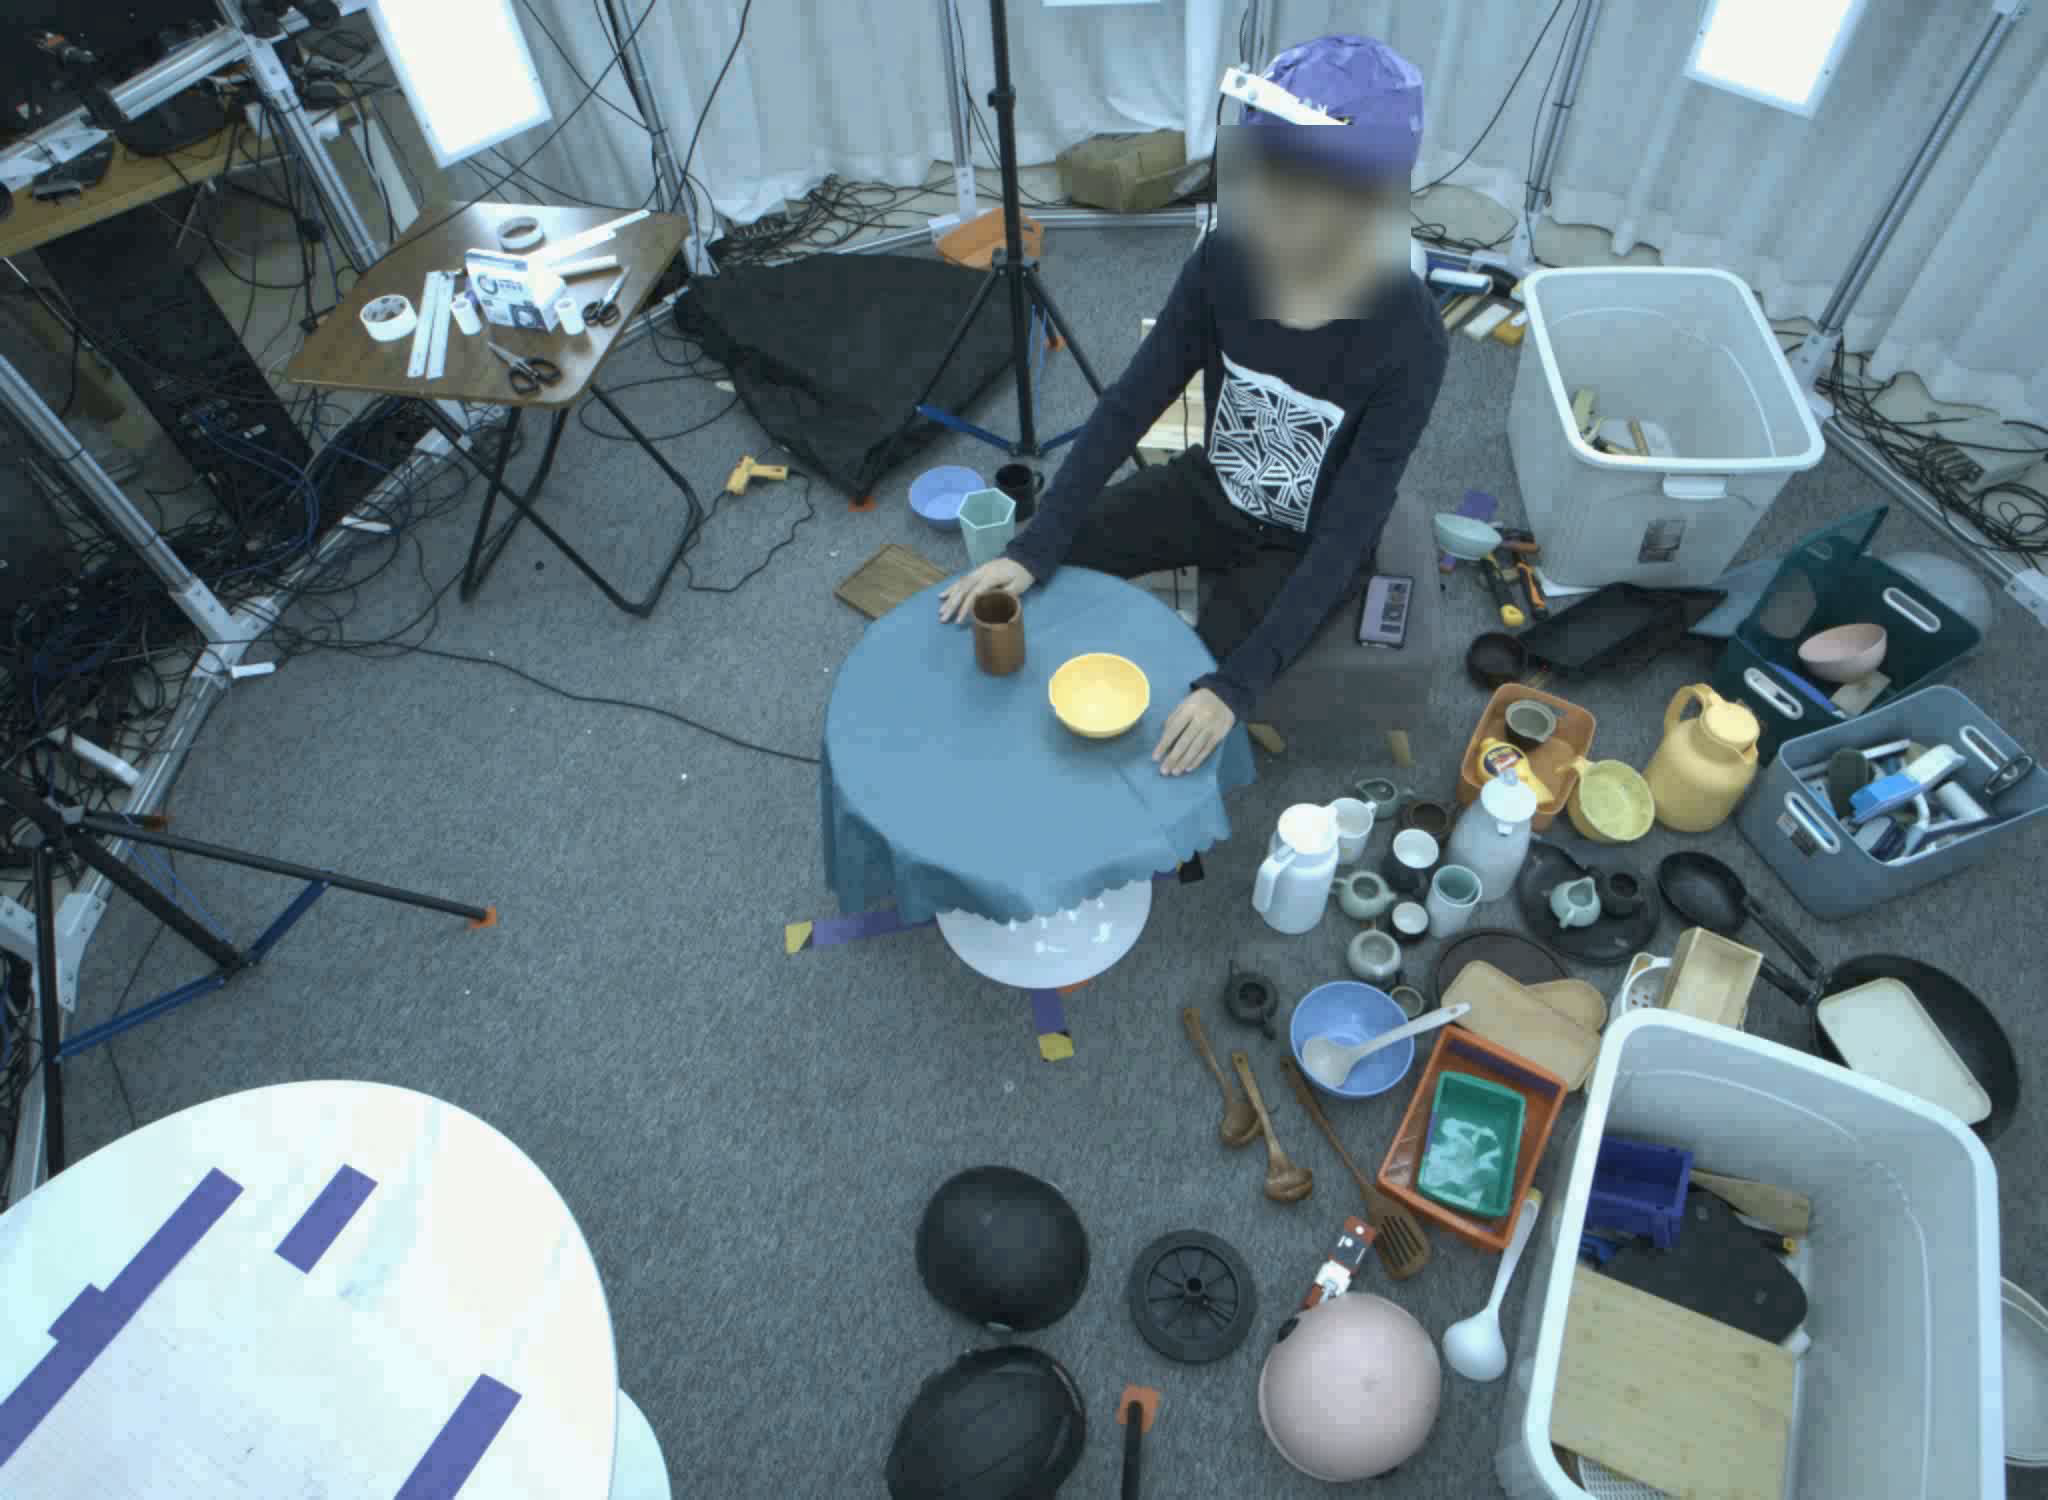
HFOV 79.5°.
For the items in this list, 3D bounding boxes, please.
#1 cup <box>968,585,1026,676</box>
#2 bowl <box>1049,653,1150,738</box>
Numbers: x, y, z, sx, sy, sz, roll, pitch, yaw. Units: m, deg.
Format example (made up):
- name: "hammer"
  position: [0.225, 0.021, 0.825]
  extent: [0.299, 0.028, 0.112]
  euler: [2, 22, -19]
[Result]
- name: "cup"
  position: [-0.040, -0.179, 1.837]
  extent: [0.088, 0.119, 0.087]
  euler: [0, 55, 2]
- name: "bowl"
  position: [0.109, -0.068, 1.790]
  extent: [0.145, 0.061, 0.144]
  euler: [0, 54, 1]
